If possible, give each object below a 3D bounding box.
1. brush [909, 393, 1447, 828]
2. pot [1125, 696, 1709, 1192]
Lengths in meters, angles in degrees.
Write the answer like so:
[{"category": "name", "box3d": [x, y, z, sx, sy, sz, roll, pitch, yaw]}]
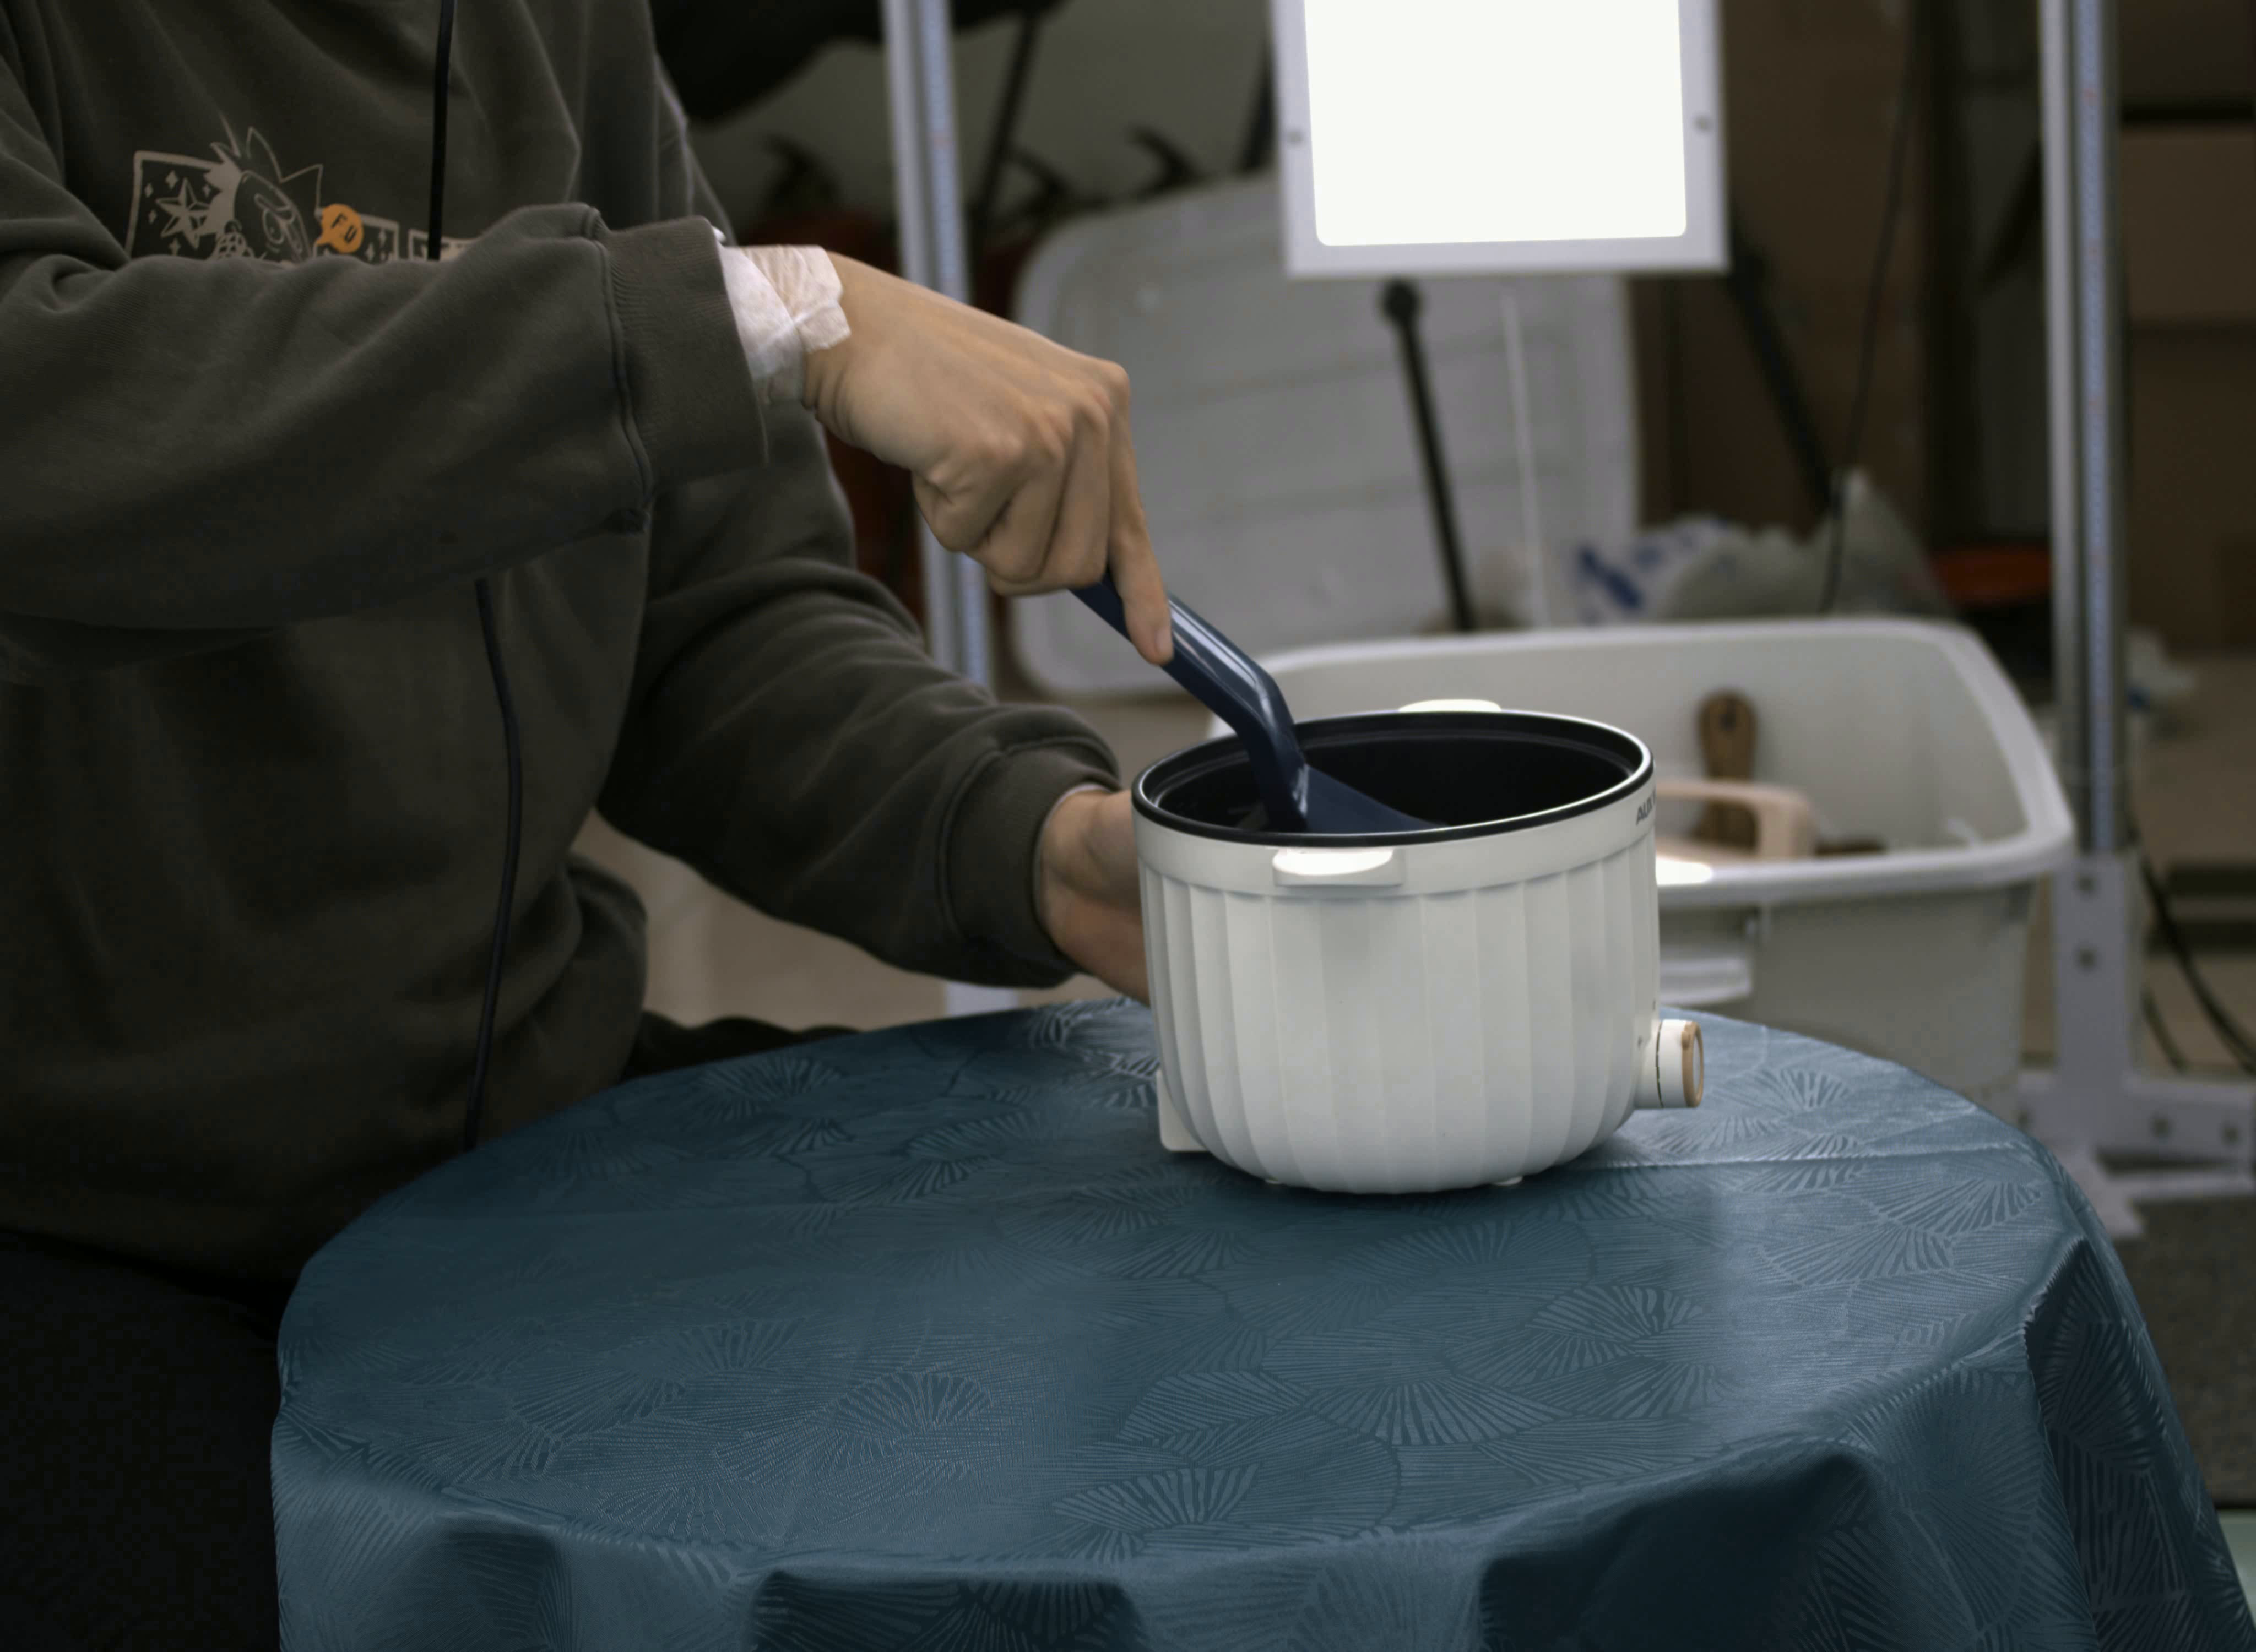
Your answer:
[{"category": "brush", "box3d": [0.033, -0.056, 1.869, 0.098, 0.270, 0.033, -20, 38, 34]}, {"category": "pot", "box3d": [0.102, 0.043, 1.904, 0.192, 0.143, 0.237, -5, 15, 16]}]
